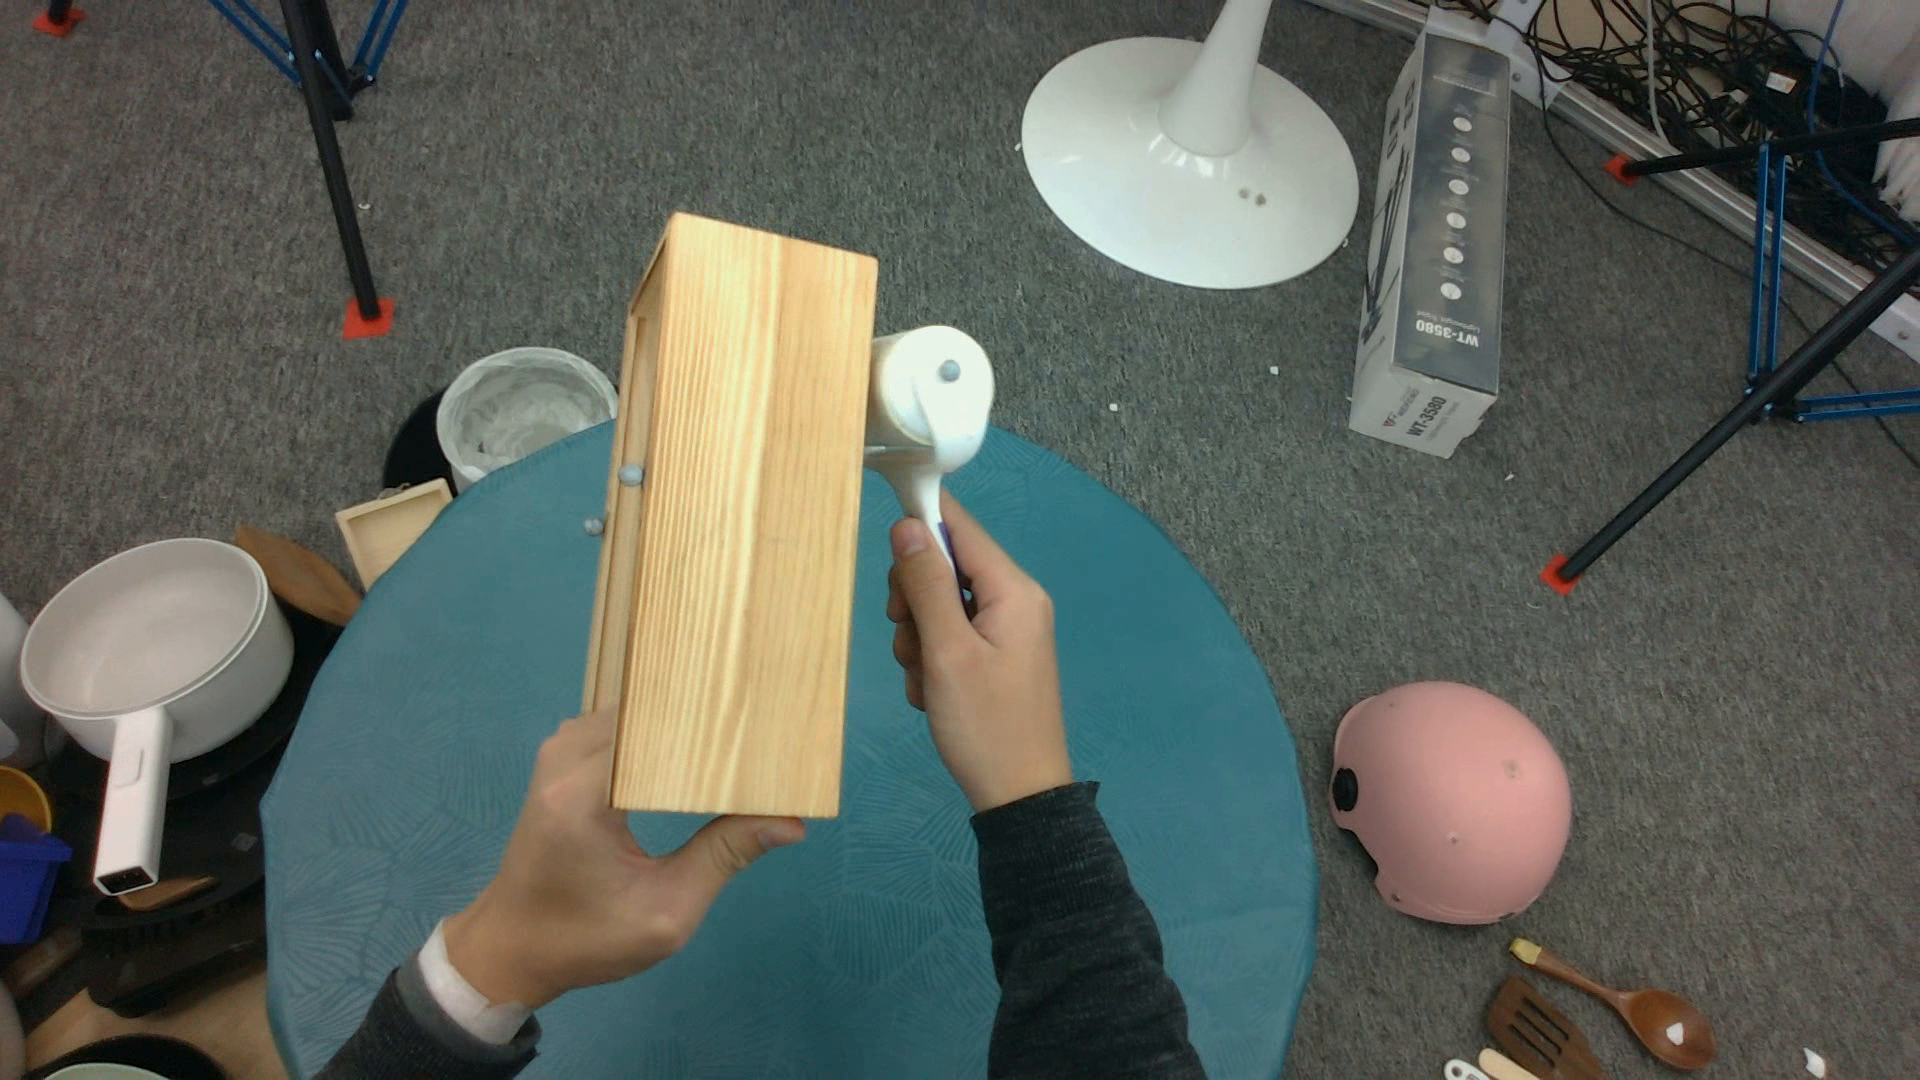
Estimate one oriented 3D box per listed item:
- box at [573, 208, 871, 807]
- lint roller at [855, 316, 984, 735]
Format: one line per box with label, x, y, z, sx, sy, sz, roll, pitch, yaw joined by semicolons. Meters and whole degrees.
box;-0.094;-0.005;0.539;0.080;0.107;0.212;7;77;-22
lint roller;-0.009;-0.006;0.580;0.050;0.133;0.180;-25;102;-19
